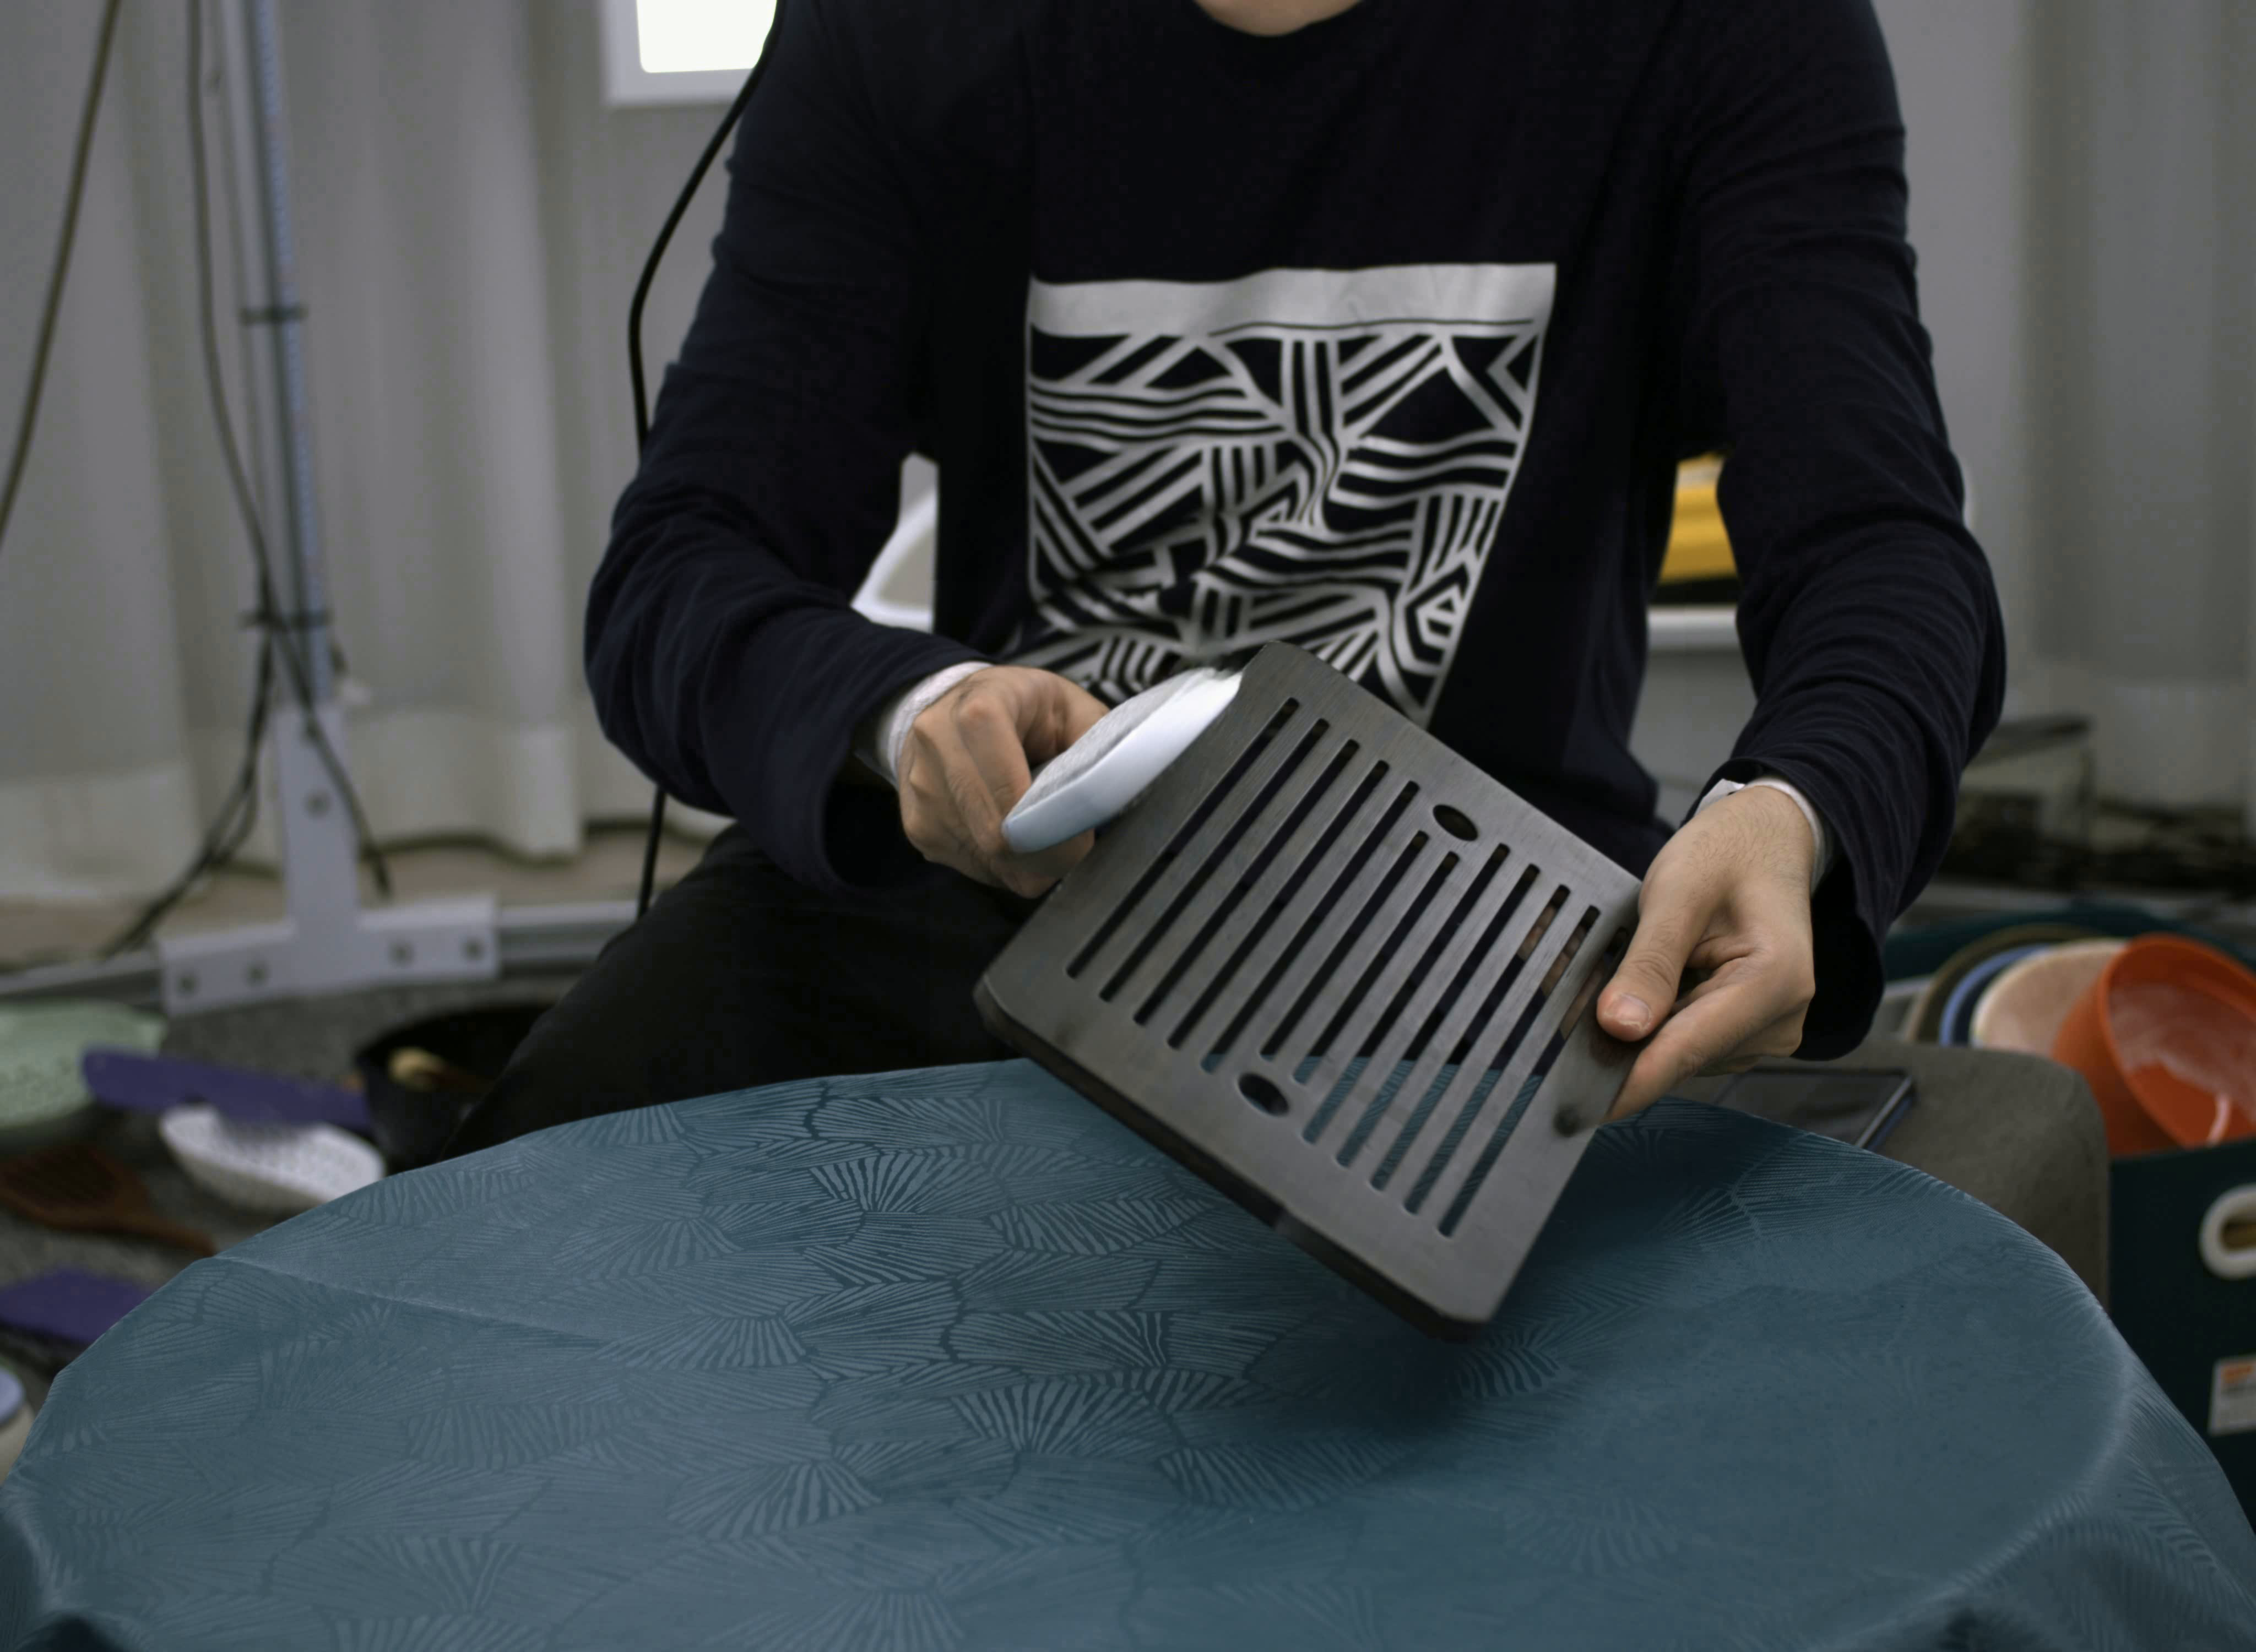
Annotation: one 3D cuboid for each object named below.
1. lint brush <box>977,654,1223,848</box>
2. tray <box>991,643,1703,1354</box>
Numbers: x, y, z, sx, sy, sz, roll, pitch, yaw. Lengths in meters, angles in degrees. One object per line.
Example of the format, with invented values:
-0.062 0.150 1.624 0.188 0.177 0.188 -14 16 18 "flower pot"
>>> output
-0.015 -0.018 1.733 0.060 0.021 0.308 -49 4 -10 "lint brush"
0.071 0.046 1.628 0.170 0.018 0.308 34 27 3 "tray"
